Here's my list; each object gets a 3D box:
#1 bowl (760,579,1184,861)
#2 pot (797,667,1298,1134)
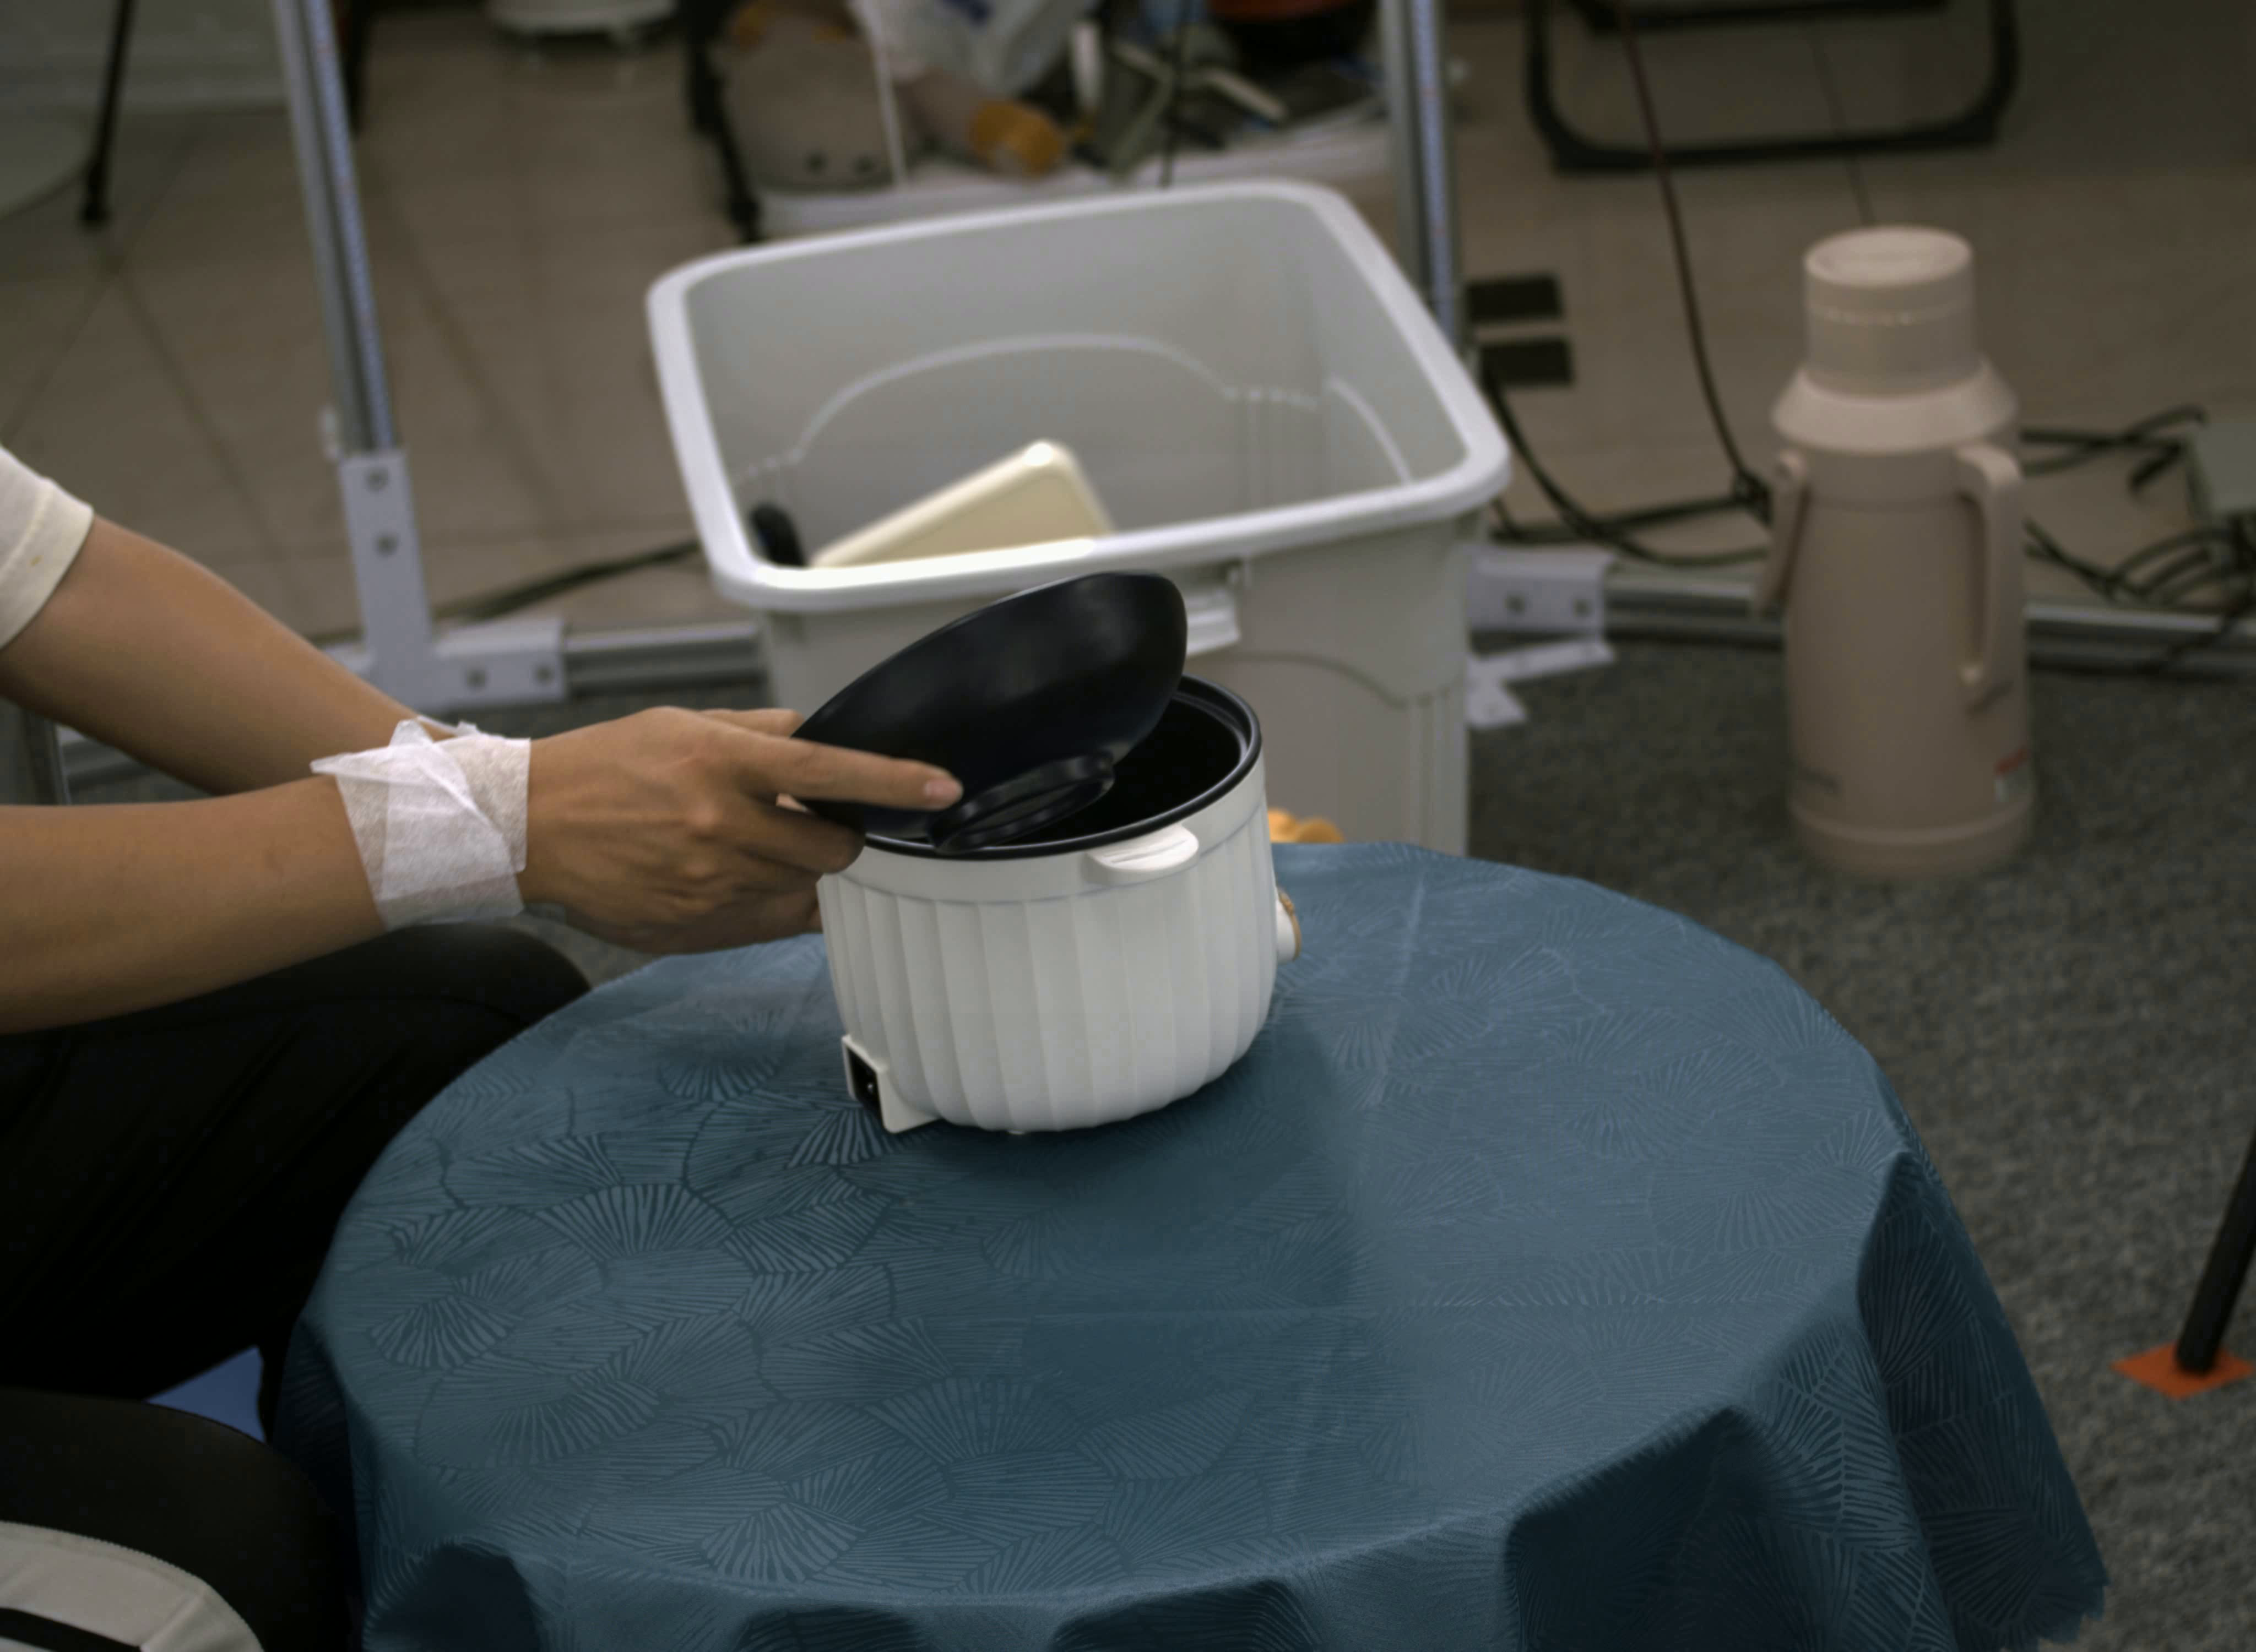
[{"bbox_3d":[-0.047,-0.031,2.032,0.169,0.066,0.138,-19,-9,-26],"label":"bowl"},{"bbox_3d":[-0.028,0.029,2.227,0.189,0.145,0.237,-21,29,-20],"label":"pot"}]
